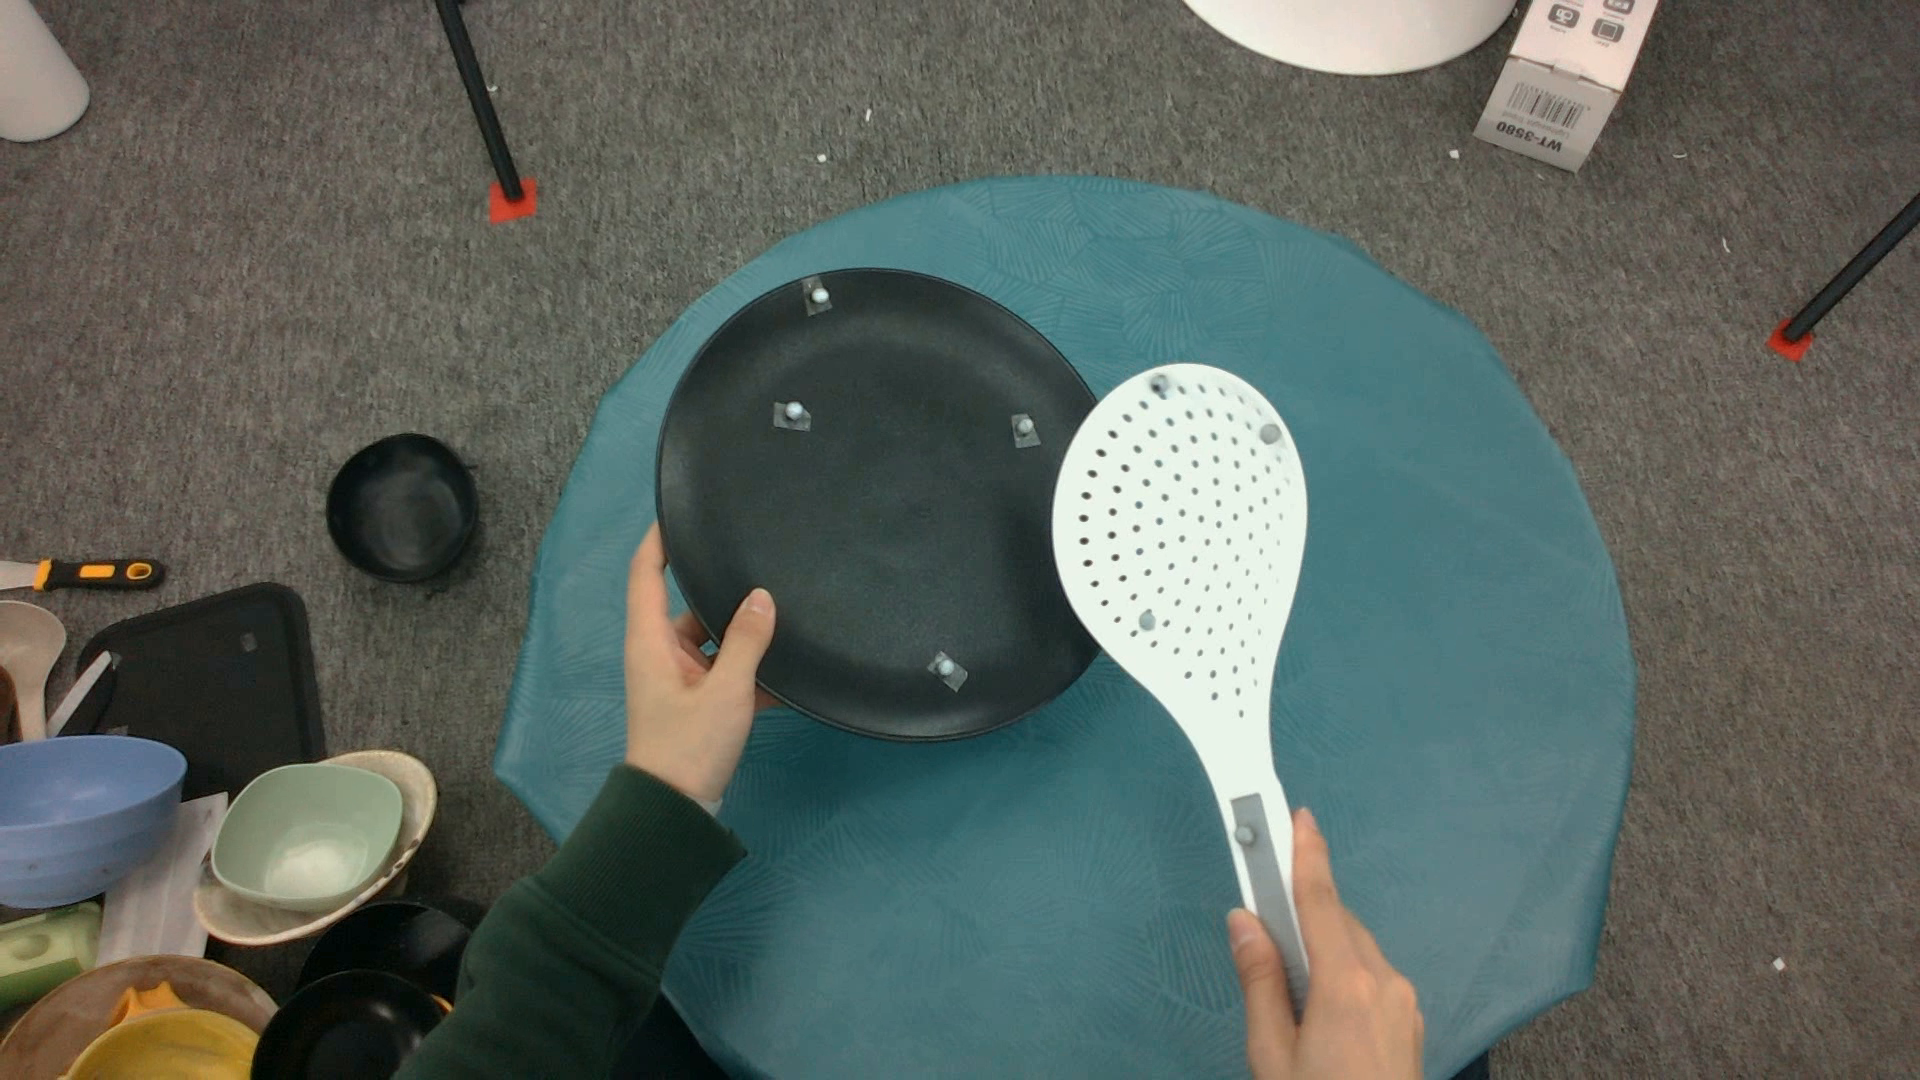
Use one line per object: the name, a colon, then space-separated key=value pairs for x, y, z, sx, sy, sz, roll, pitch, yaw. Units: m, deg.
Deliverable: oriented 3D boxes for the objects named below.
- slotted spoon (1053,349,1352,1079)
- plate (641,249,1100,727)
slotted spoon: x=0.117 y=0.085 z=0.585 sx=0.046 sy=0.135 sz=0.350 roll=11 pitch=63 yaw=-42
plate: x=-0.034 y=-0.029 z=0.672 sx=0.245 sy=0.023 sz=0.245 roll=7 pitch=70 yaw=-20
